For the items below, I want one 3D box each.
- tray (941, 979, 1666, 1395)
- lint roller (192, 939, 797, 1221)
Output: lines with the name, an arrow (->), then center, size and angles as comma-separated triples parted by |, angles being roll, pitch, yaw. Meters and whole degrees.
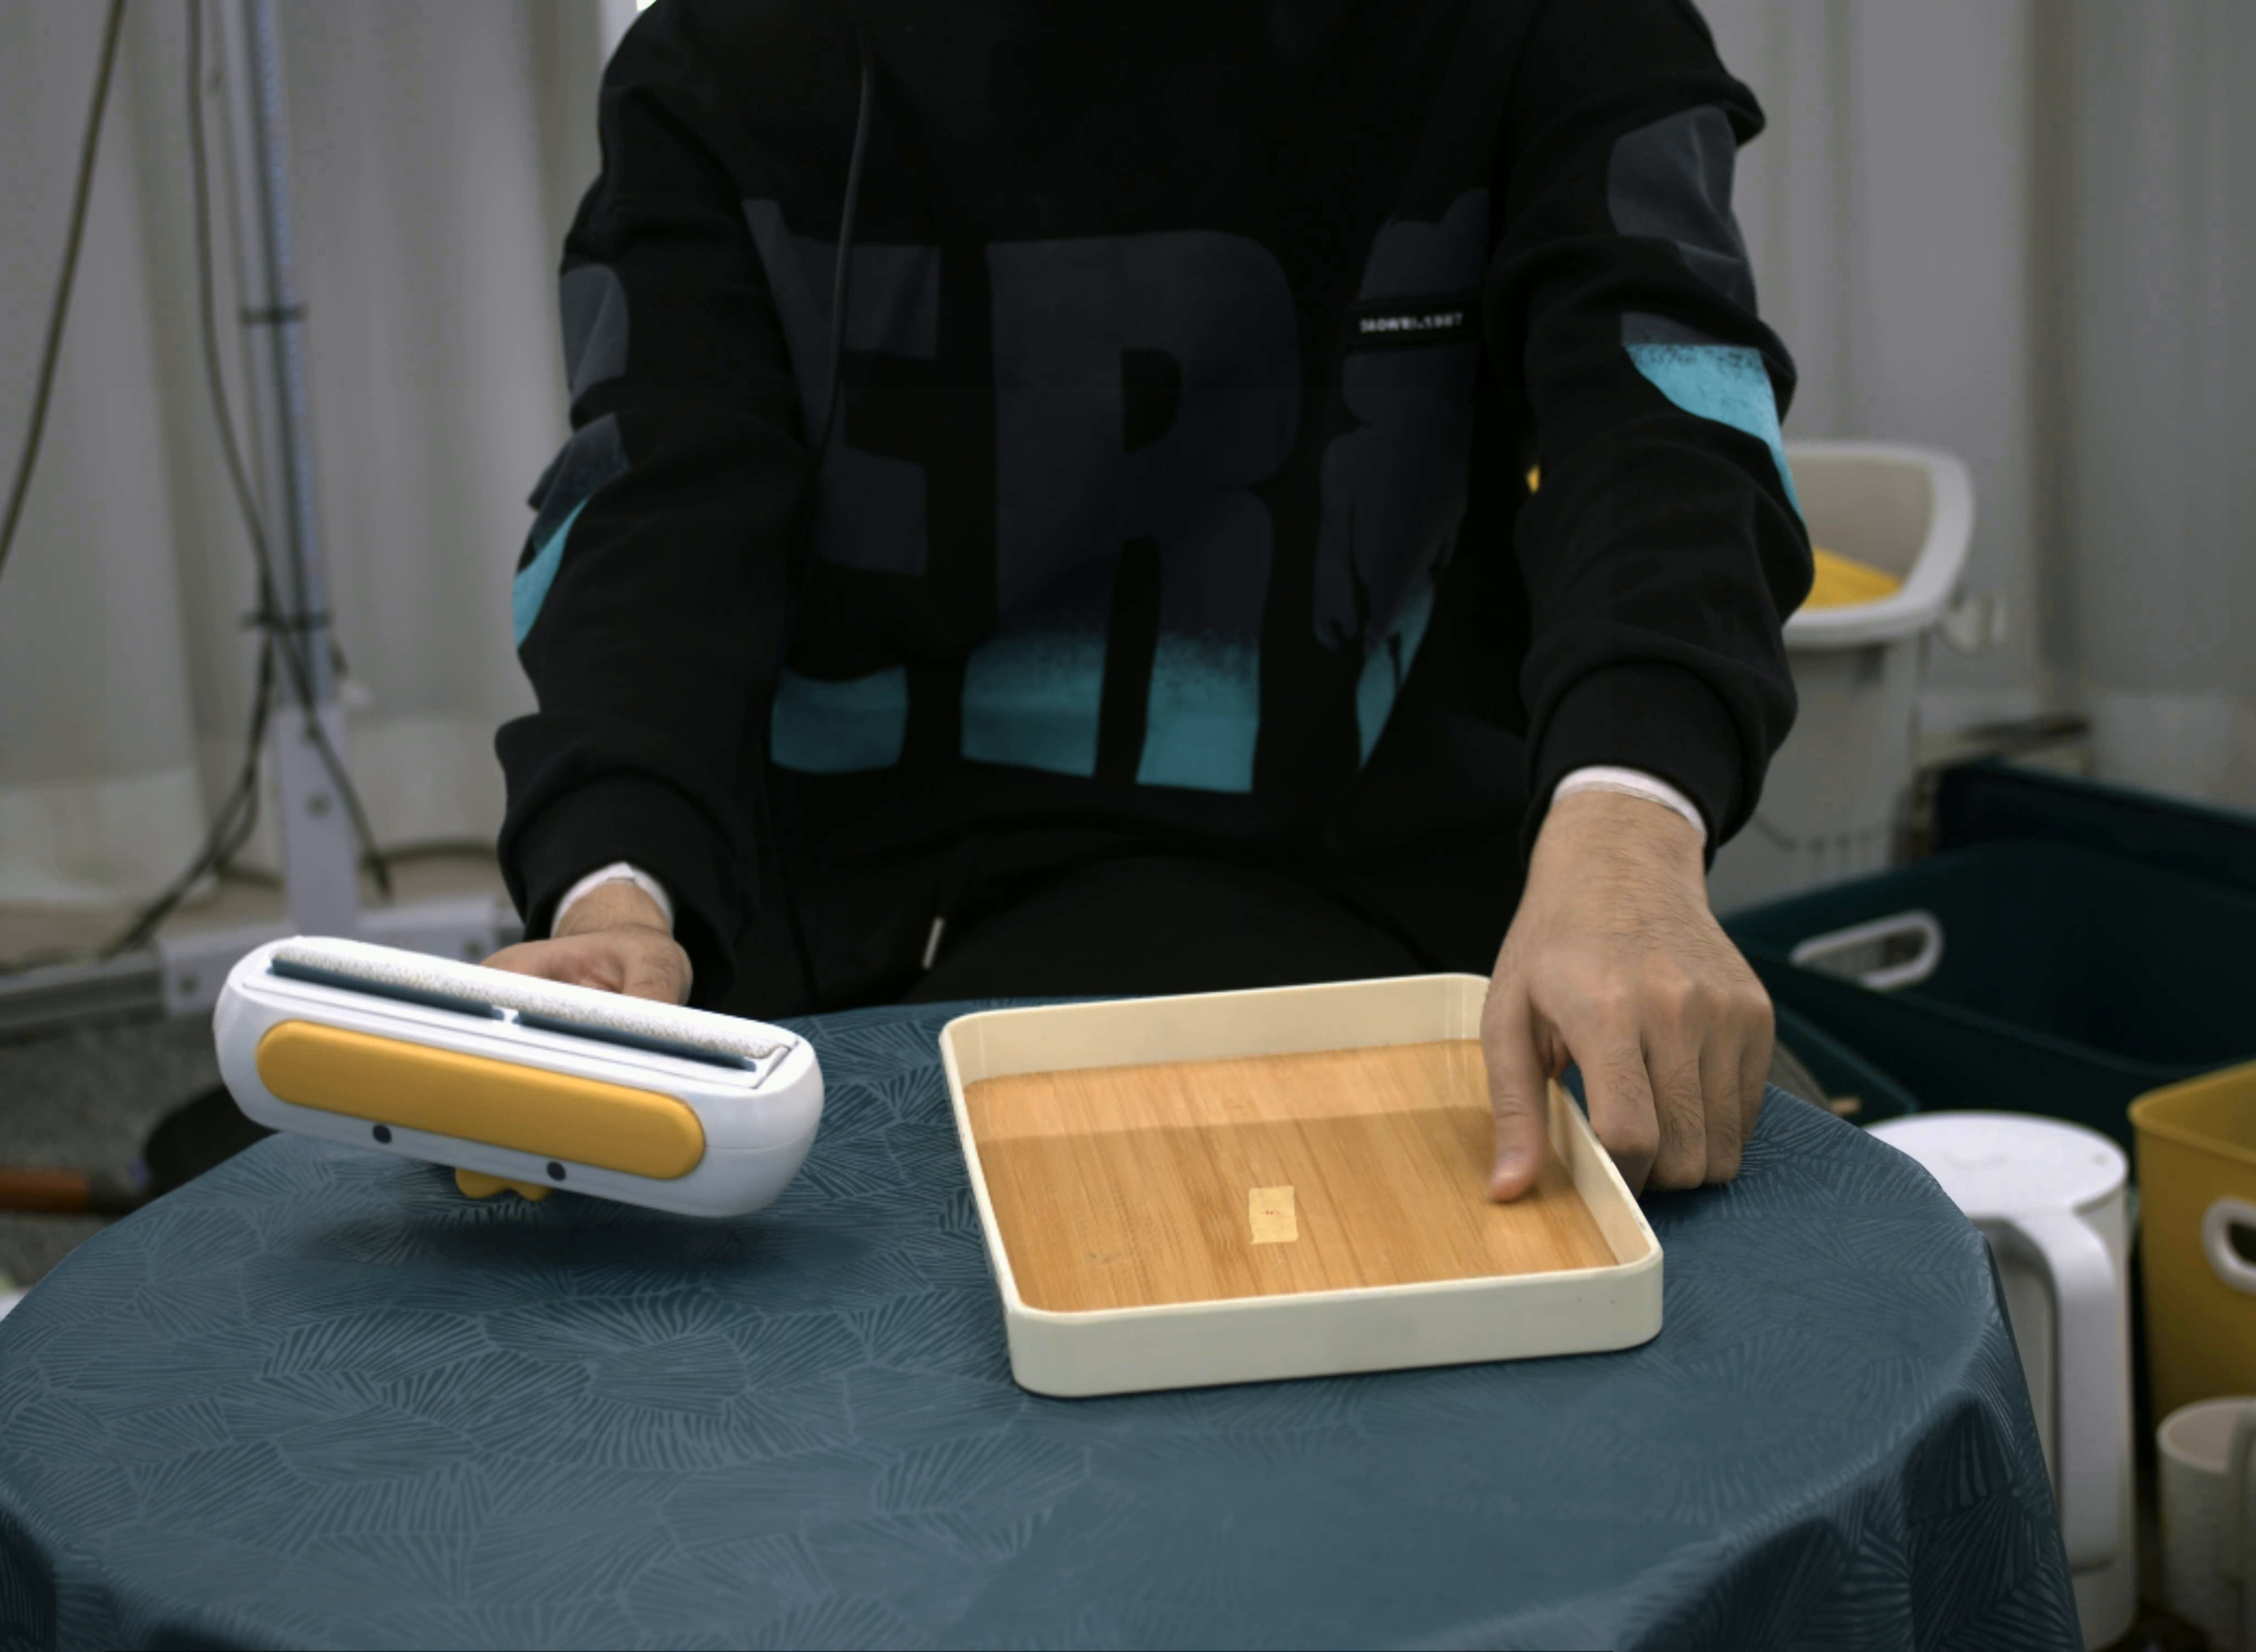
tray -> 0.047, 0.107, 1.684 | 0.191, 0.027, 0.302 | -4, 15, -5
lint roller -> -0.178, 0.075, 1.748 | 0.193, 0.074, 0.192 | 7, 11, 17
